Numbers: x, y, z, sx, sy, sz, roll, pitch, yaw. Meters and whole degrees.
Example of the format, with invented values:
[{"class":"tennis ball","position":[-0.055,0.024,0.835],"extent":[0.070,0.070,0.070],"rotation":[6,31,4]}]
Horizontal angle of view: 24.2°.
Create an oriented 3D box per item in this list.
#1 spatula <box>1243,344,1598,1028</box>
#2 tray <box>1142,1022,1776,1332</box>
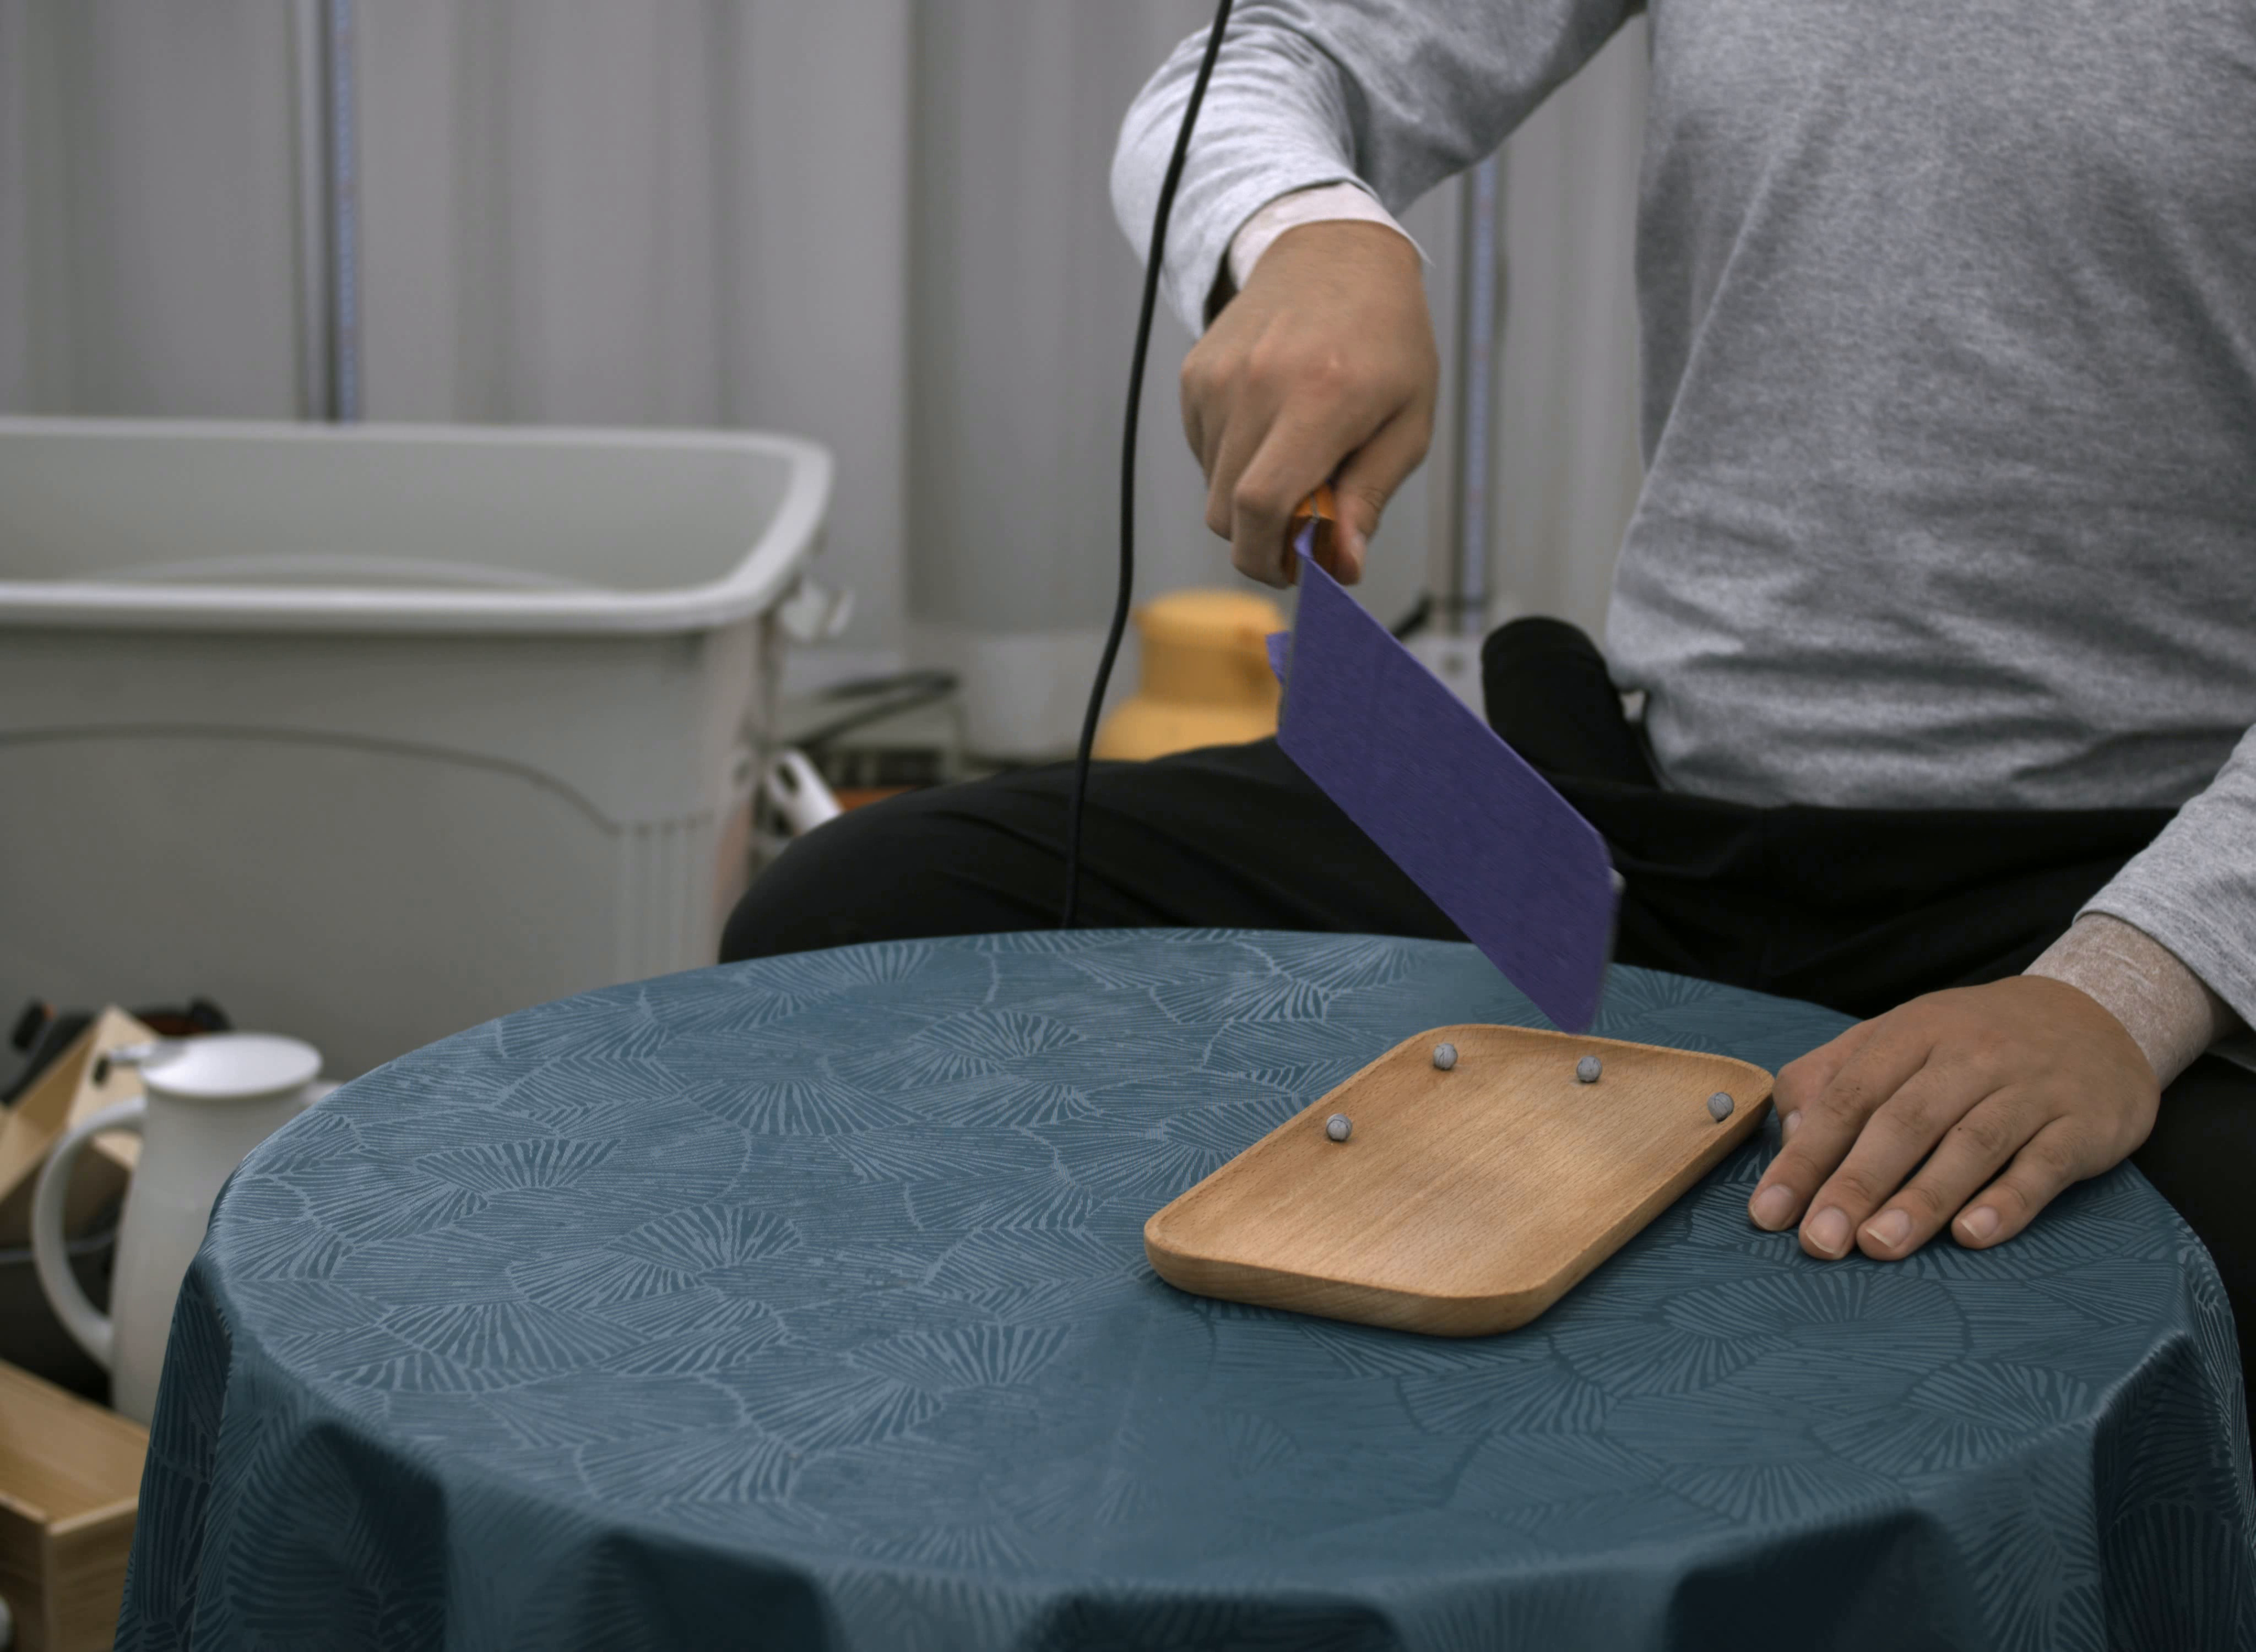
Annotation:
[{"class":"spatula","position":[0.090,-0.060,1.707],"extent":[0.086,0.076,0.356],"rotation":[5,32,-5]},{"class":"tray","position":[0.106,0.105,1.623],"extent":[0.129,0.023,0.251],"rotation":[5,16,26]}]
